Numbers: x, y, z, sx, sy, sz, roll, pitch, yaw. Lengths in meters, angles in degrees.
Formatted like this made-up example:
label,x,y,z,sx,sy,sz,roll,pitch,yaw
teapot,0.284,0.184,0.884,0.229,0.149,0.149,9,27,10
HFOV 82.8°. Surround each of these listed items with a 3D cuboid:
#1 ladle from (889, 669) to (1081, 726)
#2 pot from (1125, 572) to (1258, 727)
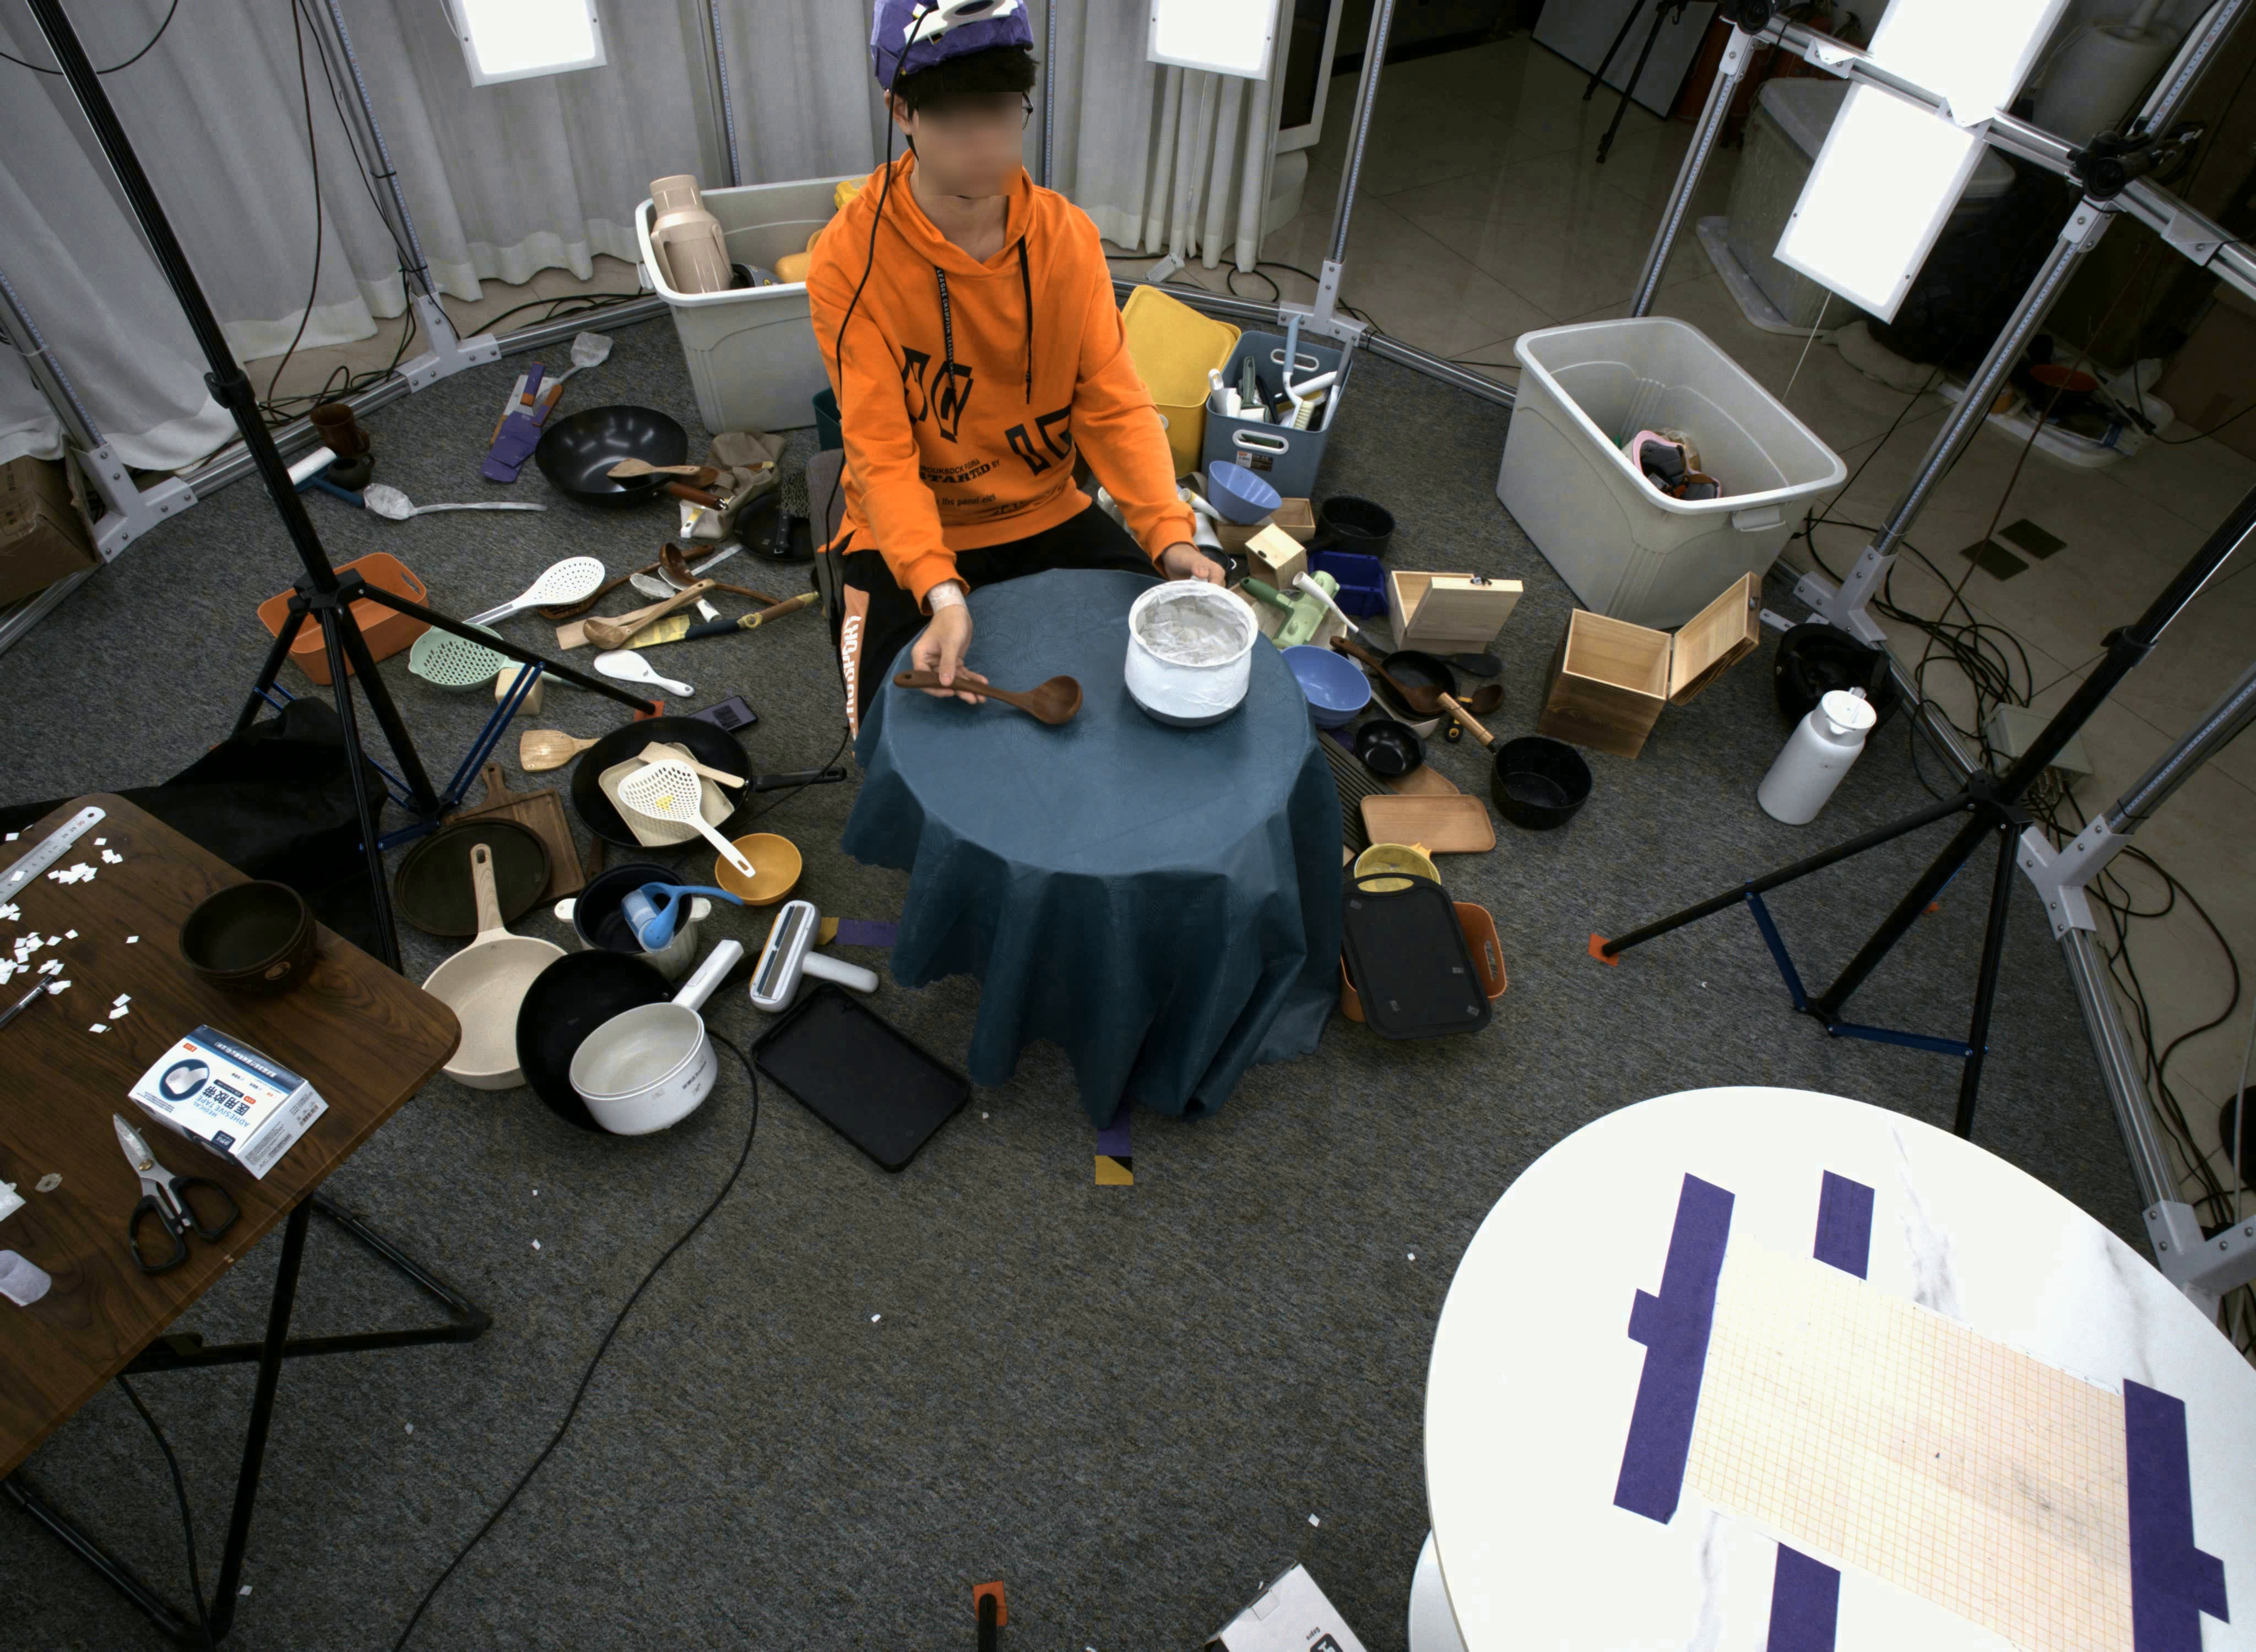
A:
label,x,y,z,sx,sy,sz,roll,pitch,yaw
ladle,-0.193,-0.191,1.760,0.259,0.064,0.078,12,54,-11
pot,0.088,-0.259,1.810,0.178,0.133,0.239,6,49,1
